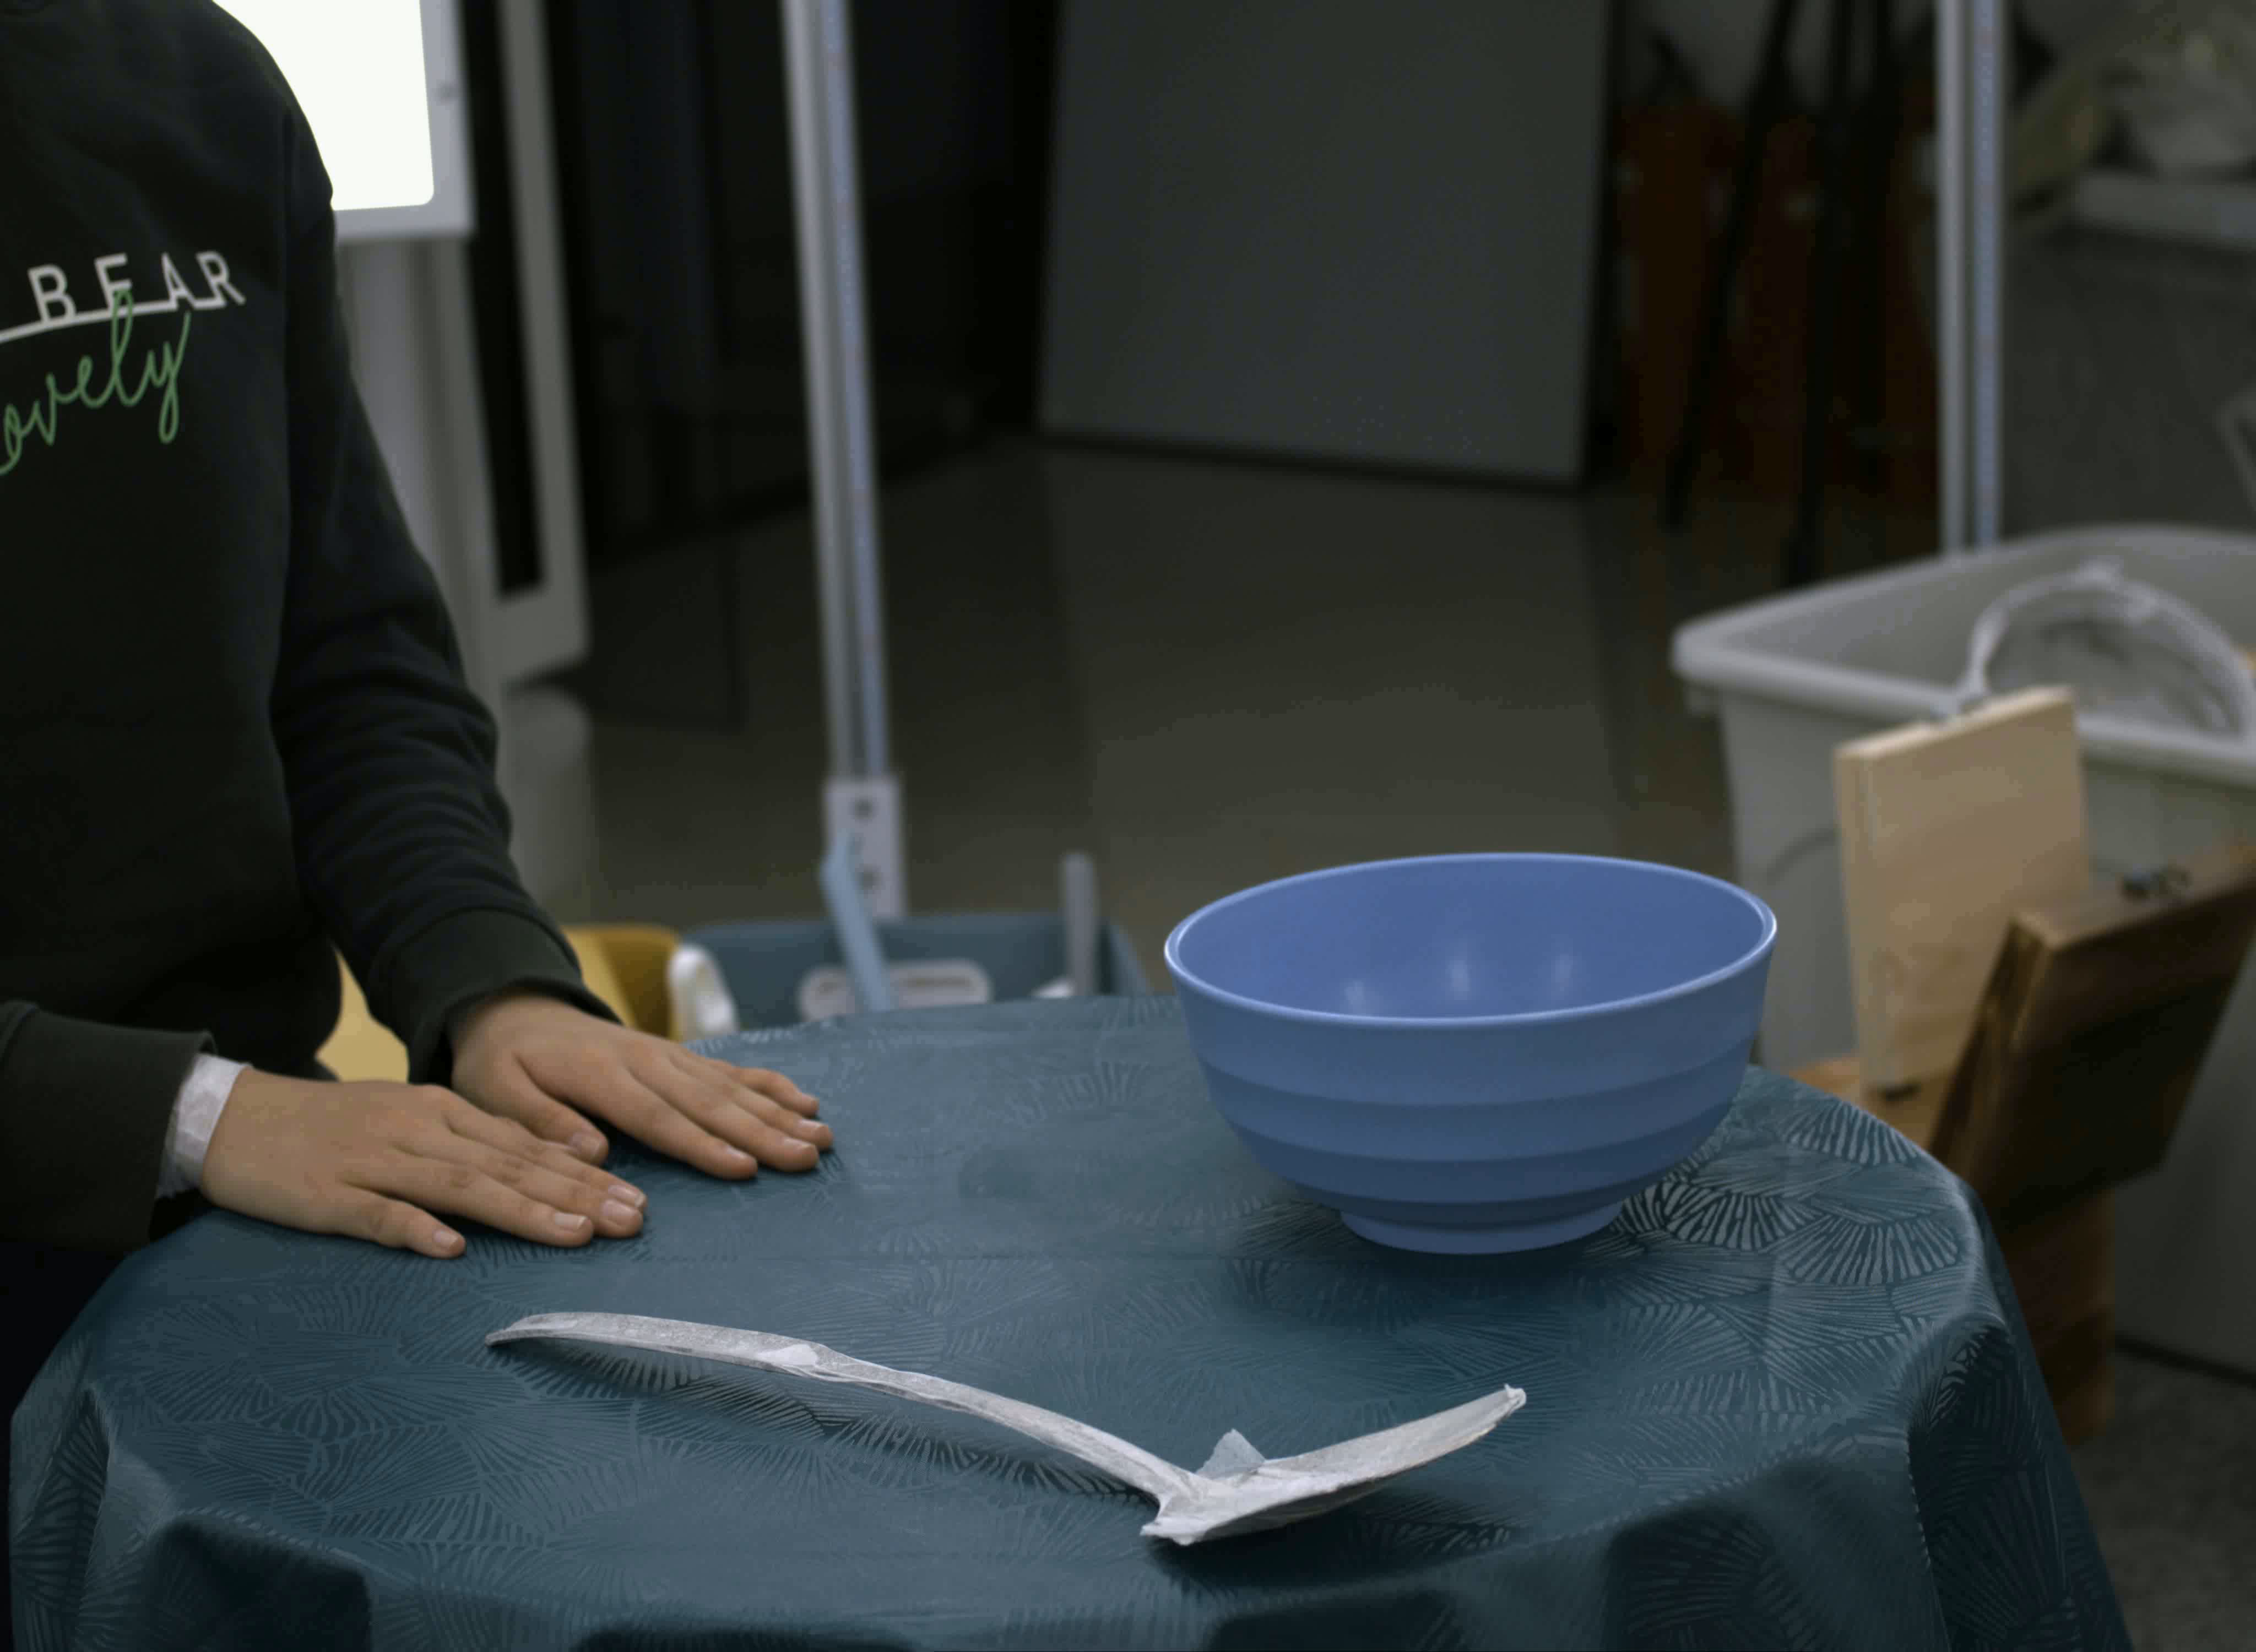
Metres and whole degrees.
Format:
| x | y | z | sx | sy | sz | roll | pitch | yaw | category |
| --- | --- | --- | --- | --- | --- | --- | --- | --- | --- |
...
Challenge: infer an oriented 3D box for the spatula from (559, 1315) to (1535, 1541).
| x | y | z | sx | sy | sz | roll | pitch | yaw | category |
| --- | --- | --- | --- | --- | --- | --- | --- | --- | --- |
| -0.045 | 0.160 | 1.545 | 0.368 | 0.045 | 0.097 | 8 | 20 | 41 | spatula |

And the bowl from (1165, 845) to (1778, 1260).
| x | y | z | sx | sy | sz | roll | pitch | yaw | category |
| --- | --- | --- | --- | --- | --- | --- | --- | --- | --- |
| 0.111 | 0.078 | 1.716 | 0.194 | 0.096 | 0.197 | -4 | 15 | 0 | bowl |
